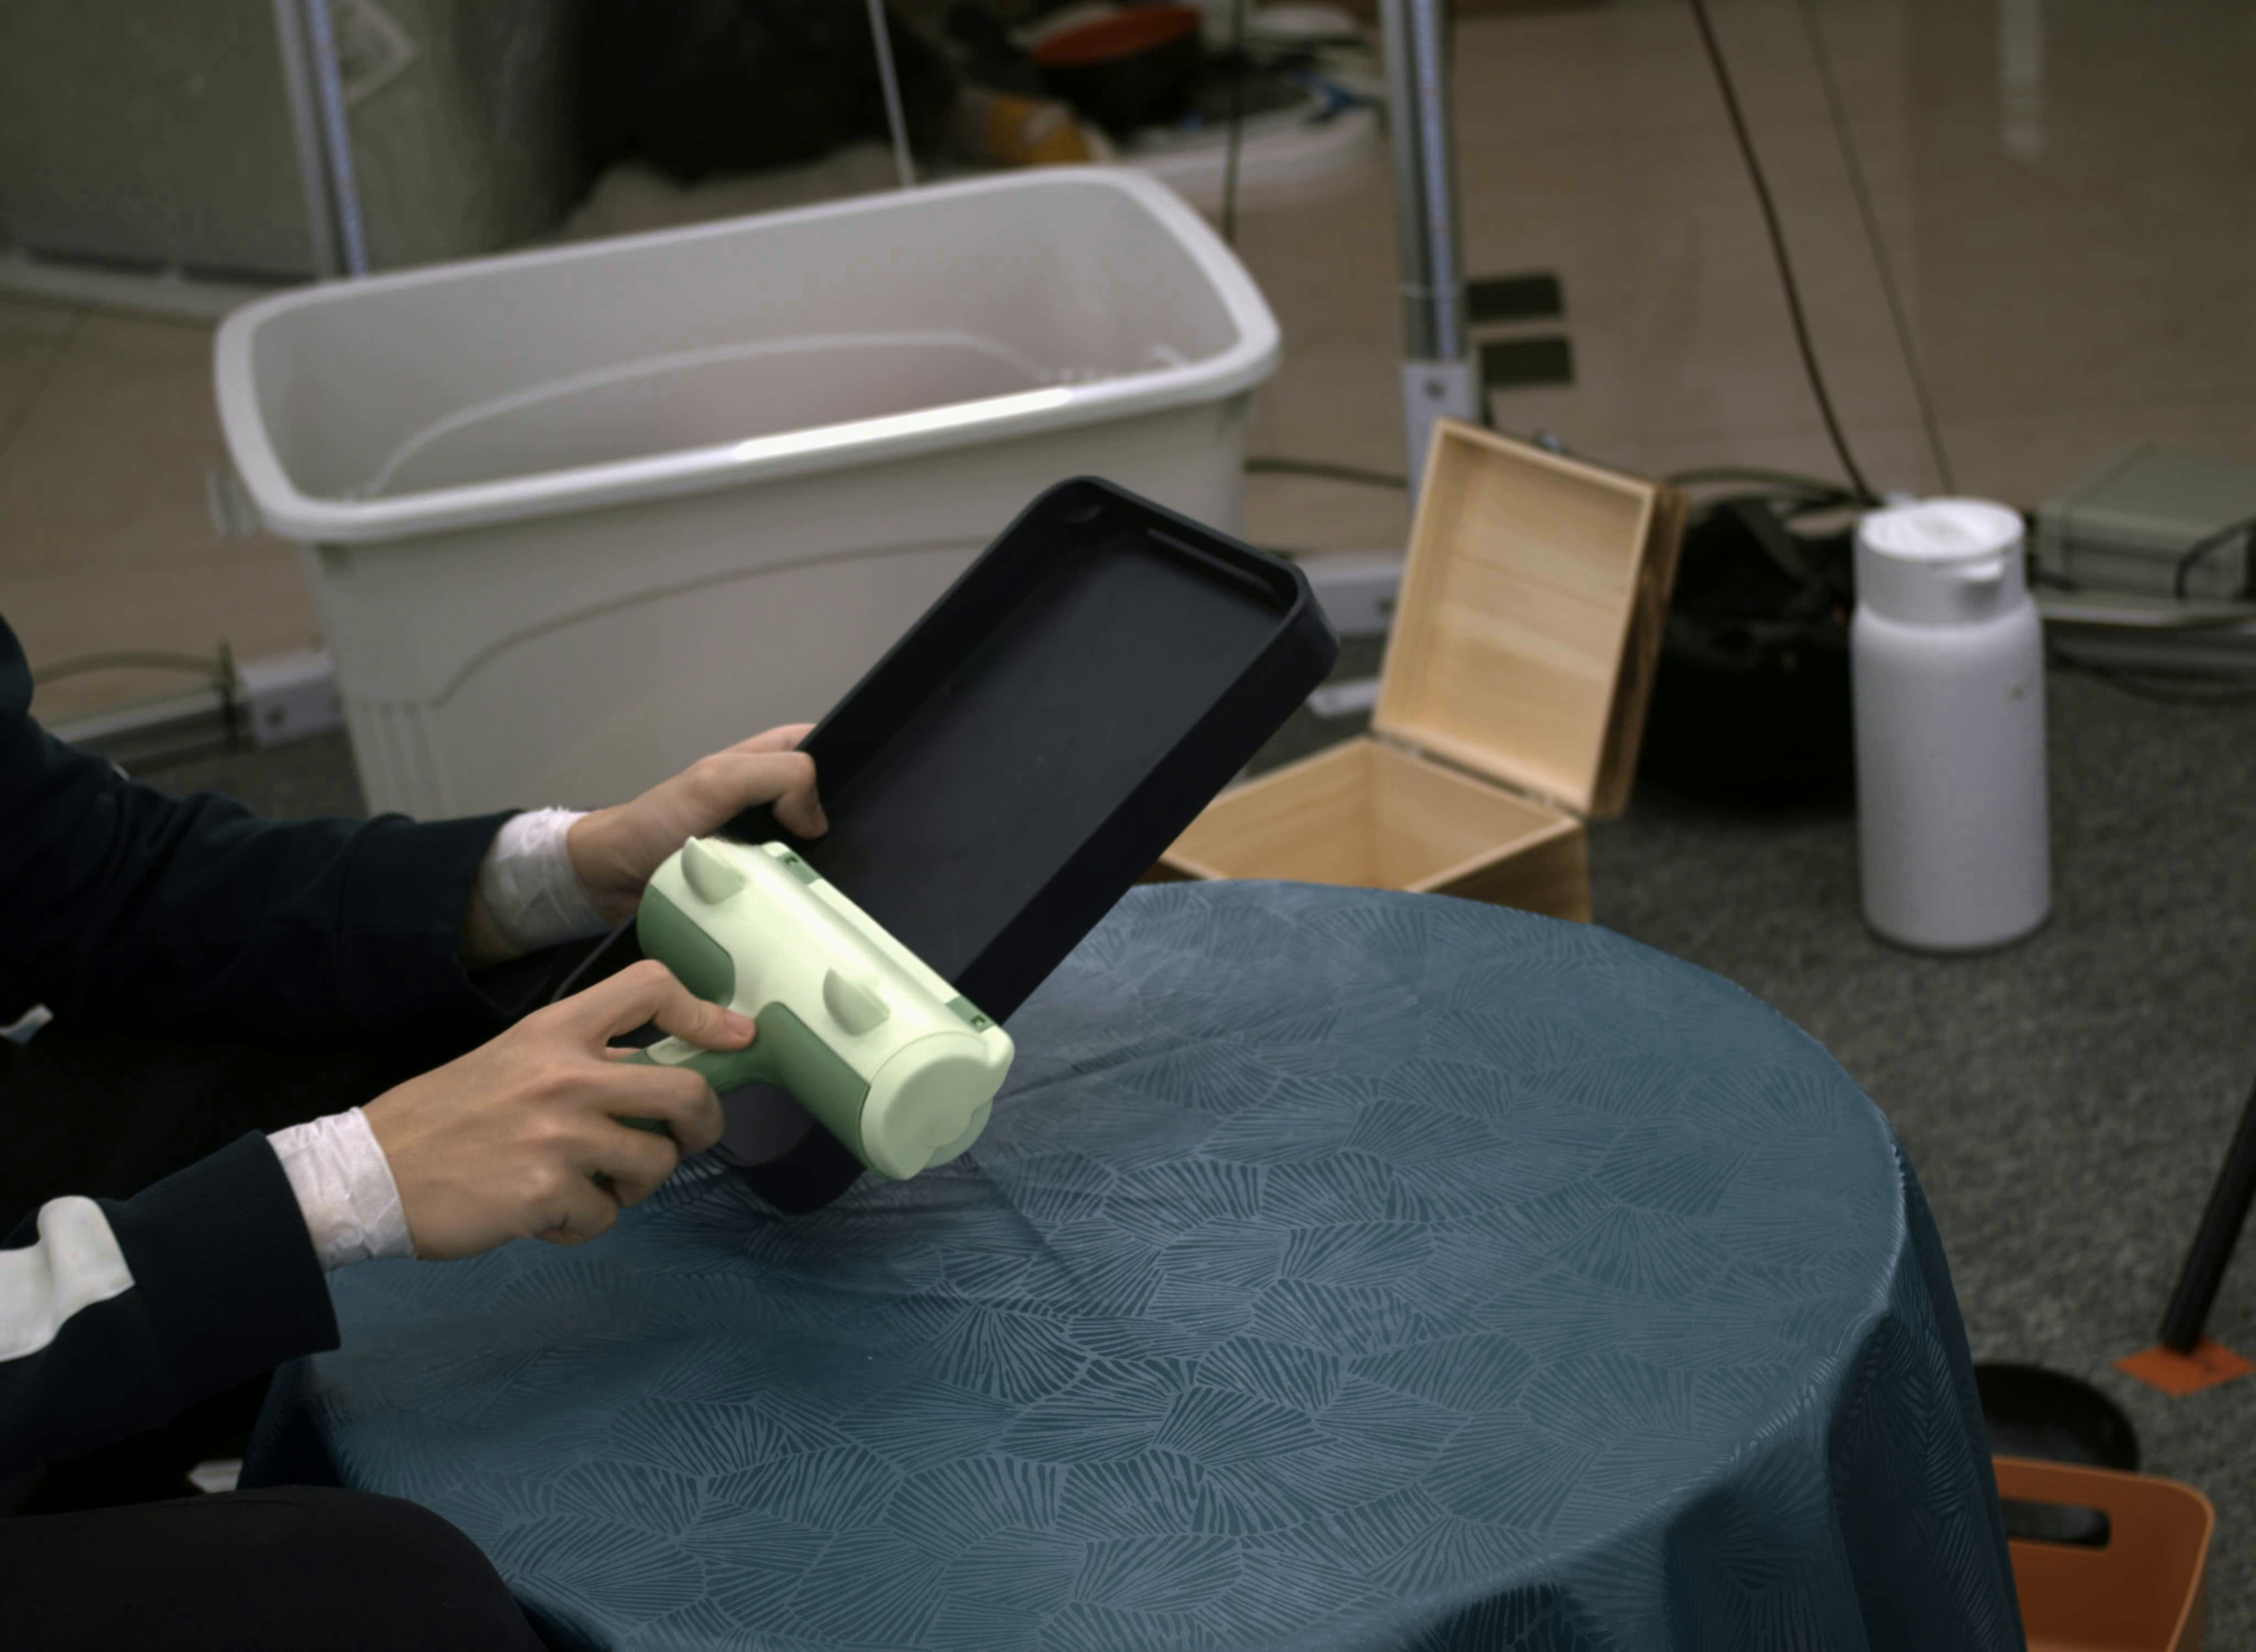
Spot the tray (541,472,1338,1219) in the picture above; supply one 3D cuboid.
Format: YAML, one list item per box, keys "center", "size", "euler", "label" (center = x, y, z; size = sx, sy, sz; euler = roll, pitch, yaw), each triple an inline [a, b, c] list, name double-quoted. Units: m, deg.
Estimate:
- center: [-0.073, 0.003, 2.189]
  size: [0.316, 0.037, 0.182]
  euler: [-47, 38, -11]
  label: "tray"

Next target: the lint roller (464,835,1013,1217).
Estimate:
- center: [-0.164, 0.077, 2.061]
  size: [0.182, 0.083, 0.196]
  euler: [-22, 34, -22]
  label: "lint roller"
